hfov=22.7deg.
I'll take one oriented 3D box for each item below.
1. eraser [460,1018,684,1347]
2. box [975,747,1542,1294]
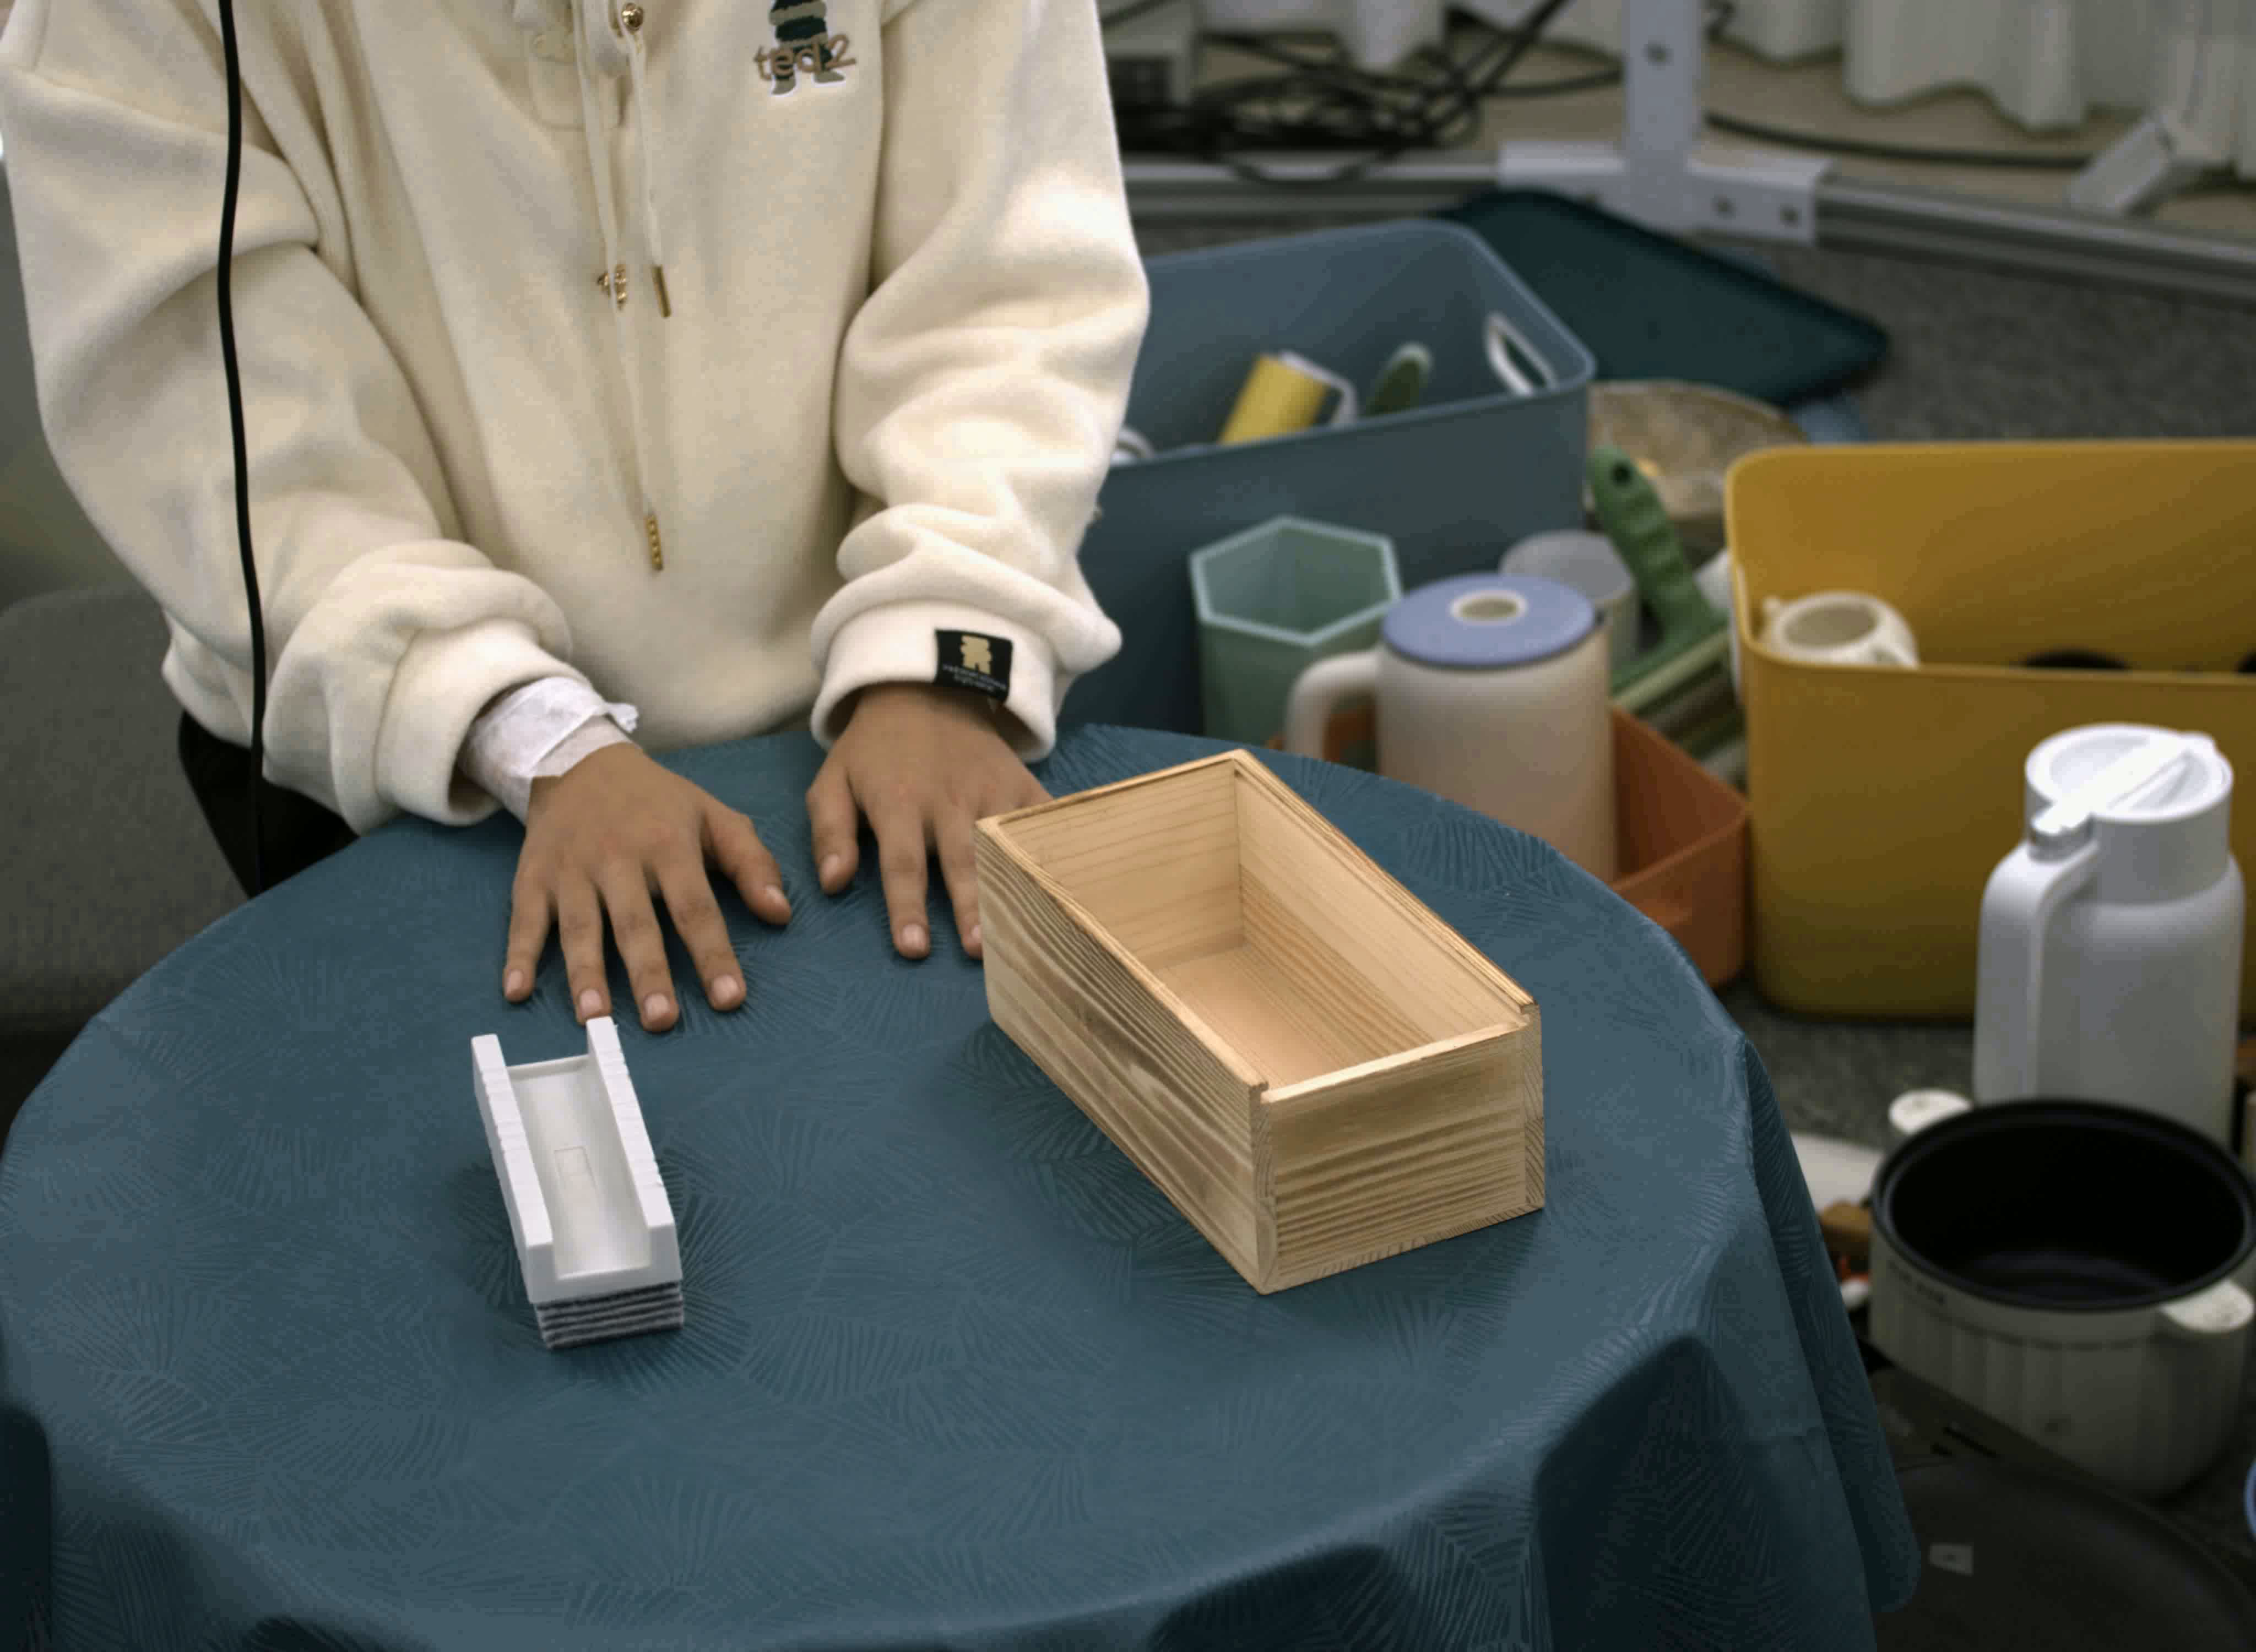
[{"bbox_3d":[-0.182,0.116,1.839,0.050,0.046,0.136,-11,30,-12],"label":"eraser"},{"bbox_3d":[0.041,0.061,1.889,0.108,0.079,0.212,-15,30,-23],"label":"box"}]
